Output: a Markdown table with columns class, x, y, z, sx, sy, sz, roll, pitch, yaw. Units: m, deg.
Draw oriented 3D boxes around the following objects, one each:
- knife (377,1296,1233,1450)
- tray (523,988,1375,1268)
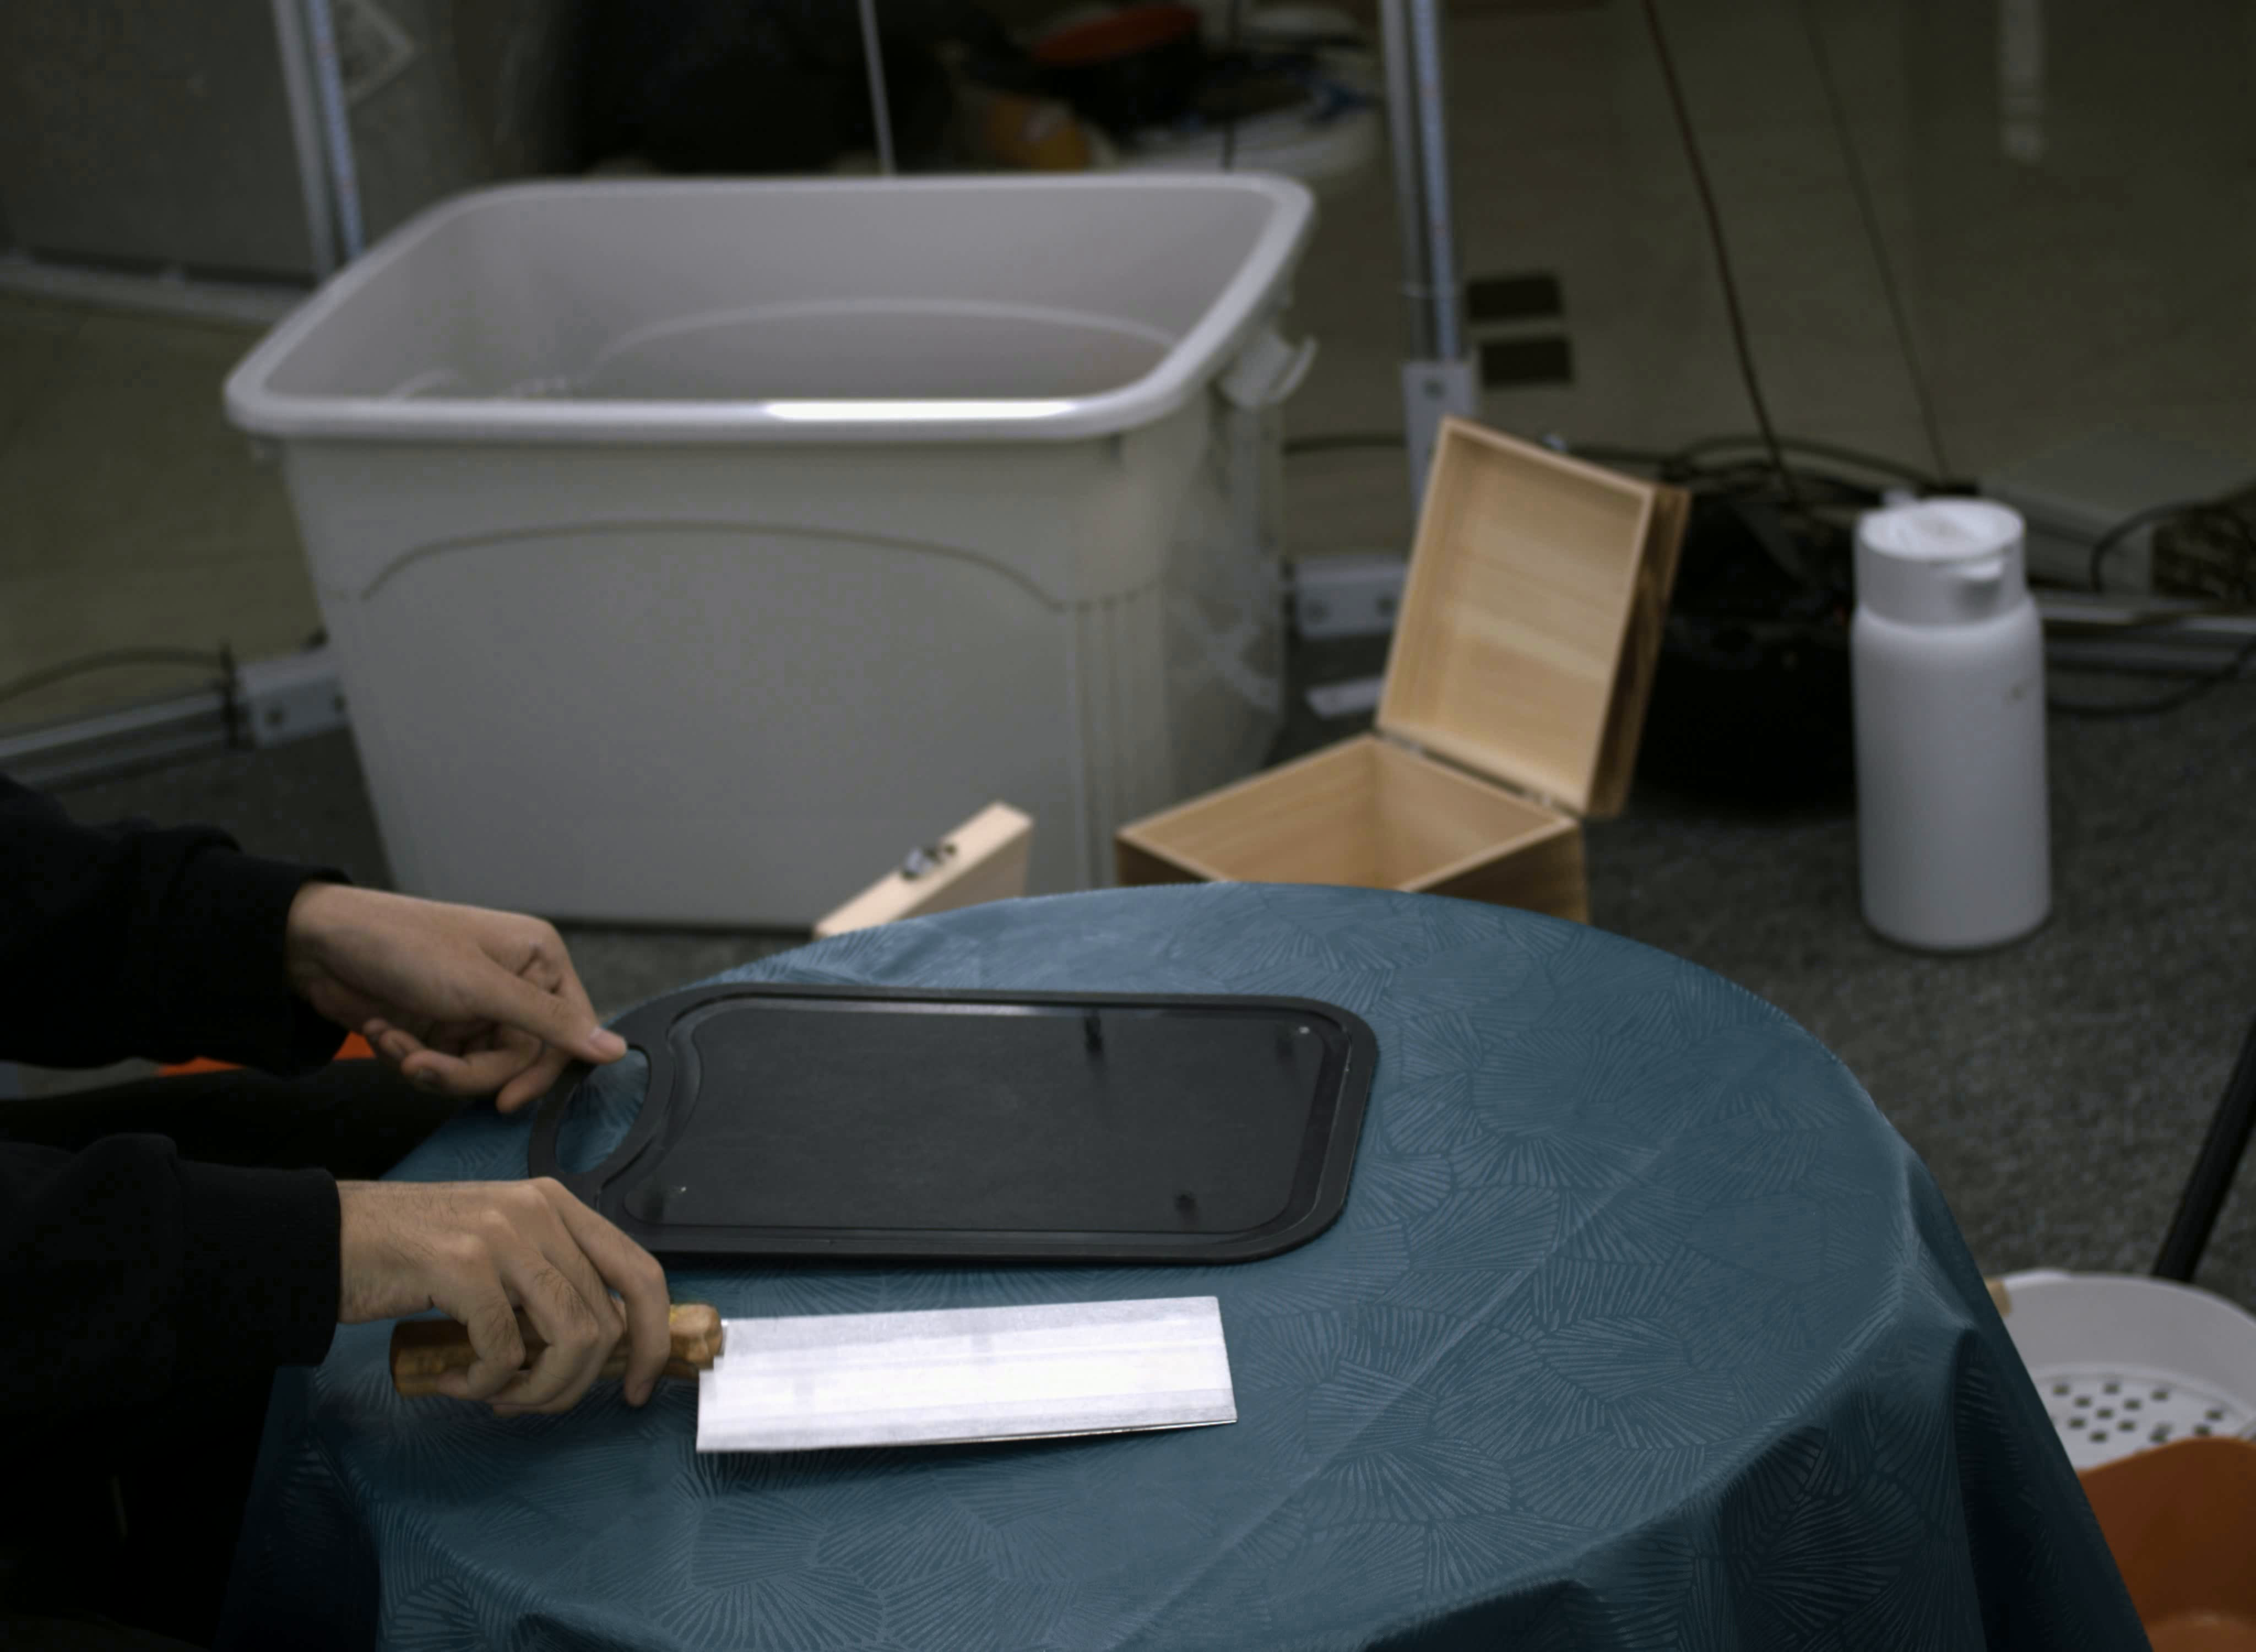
| class | x | y | z | sx | sy | sz | roll | pitch | yaw |
| --- | --- | --- | --- | --- | --- | --- | --- | --- | --- |
| knife | -0.116 | 0.195 | 2.020 | 0.305 | 0.021 | 0.091 | -2 | 26 | -3 |
| tray | -0.072 | 0.113 | 2.196 | 0.325 | 0.010 | 0.208 | 1 | 27 | 9 |
